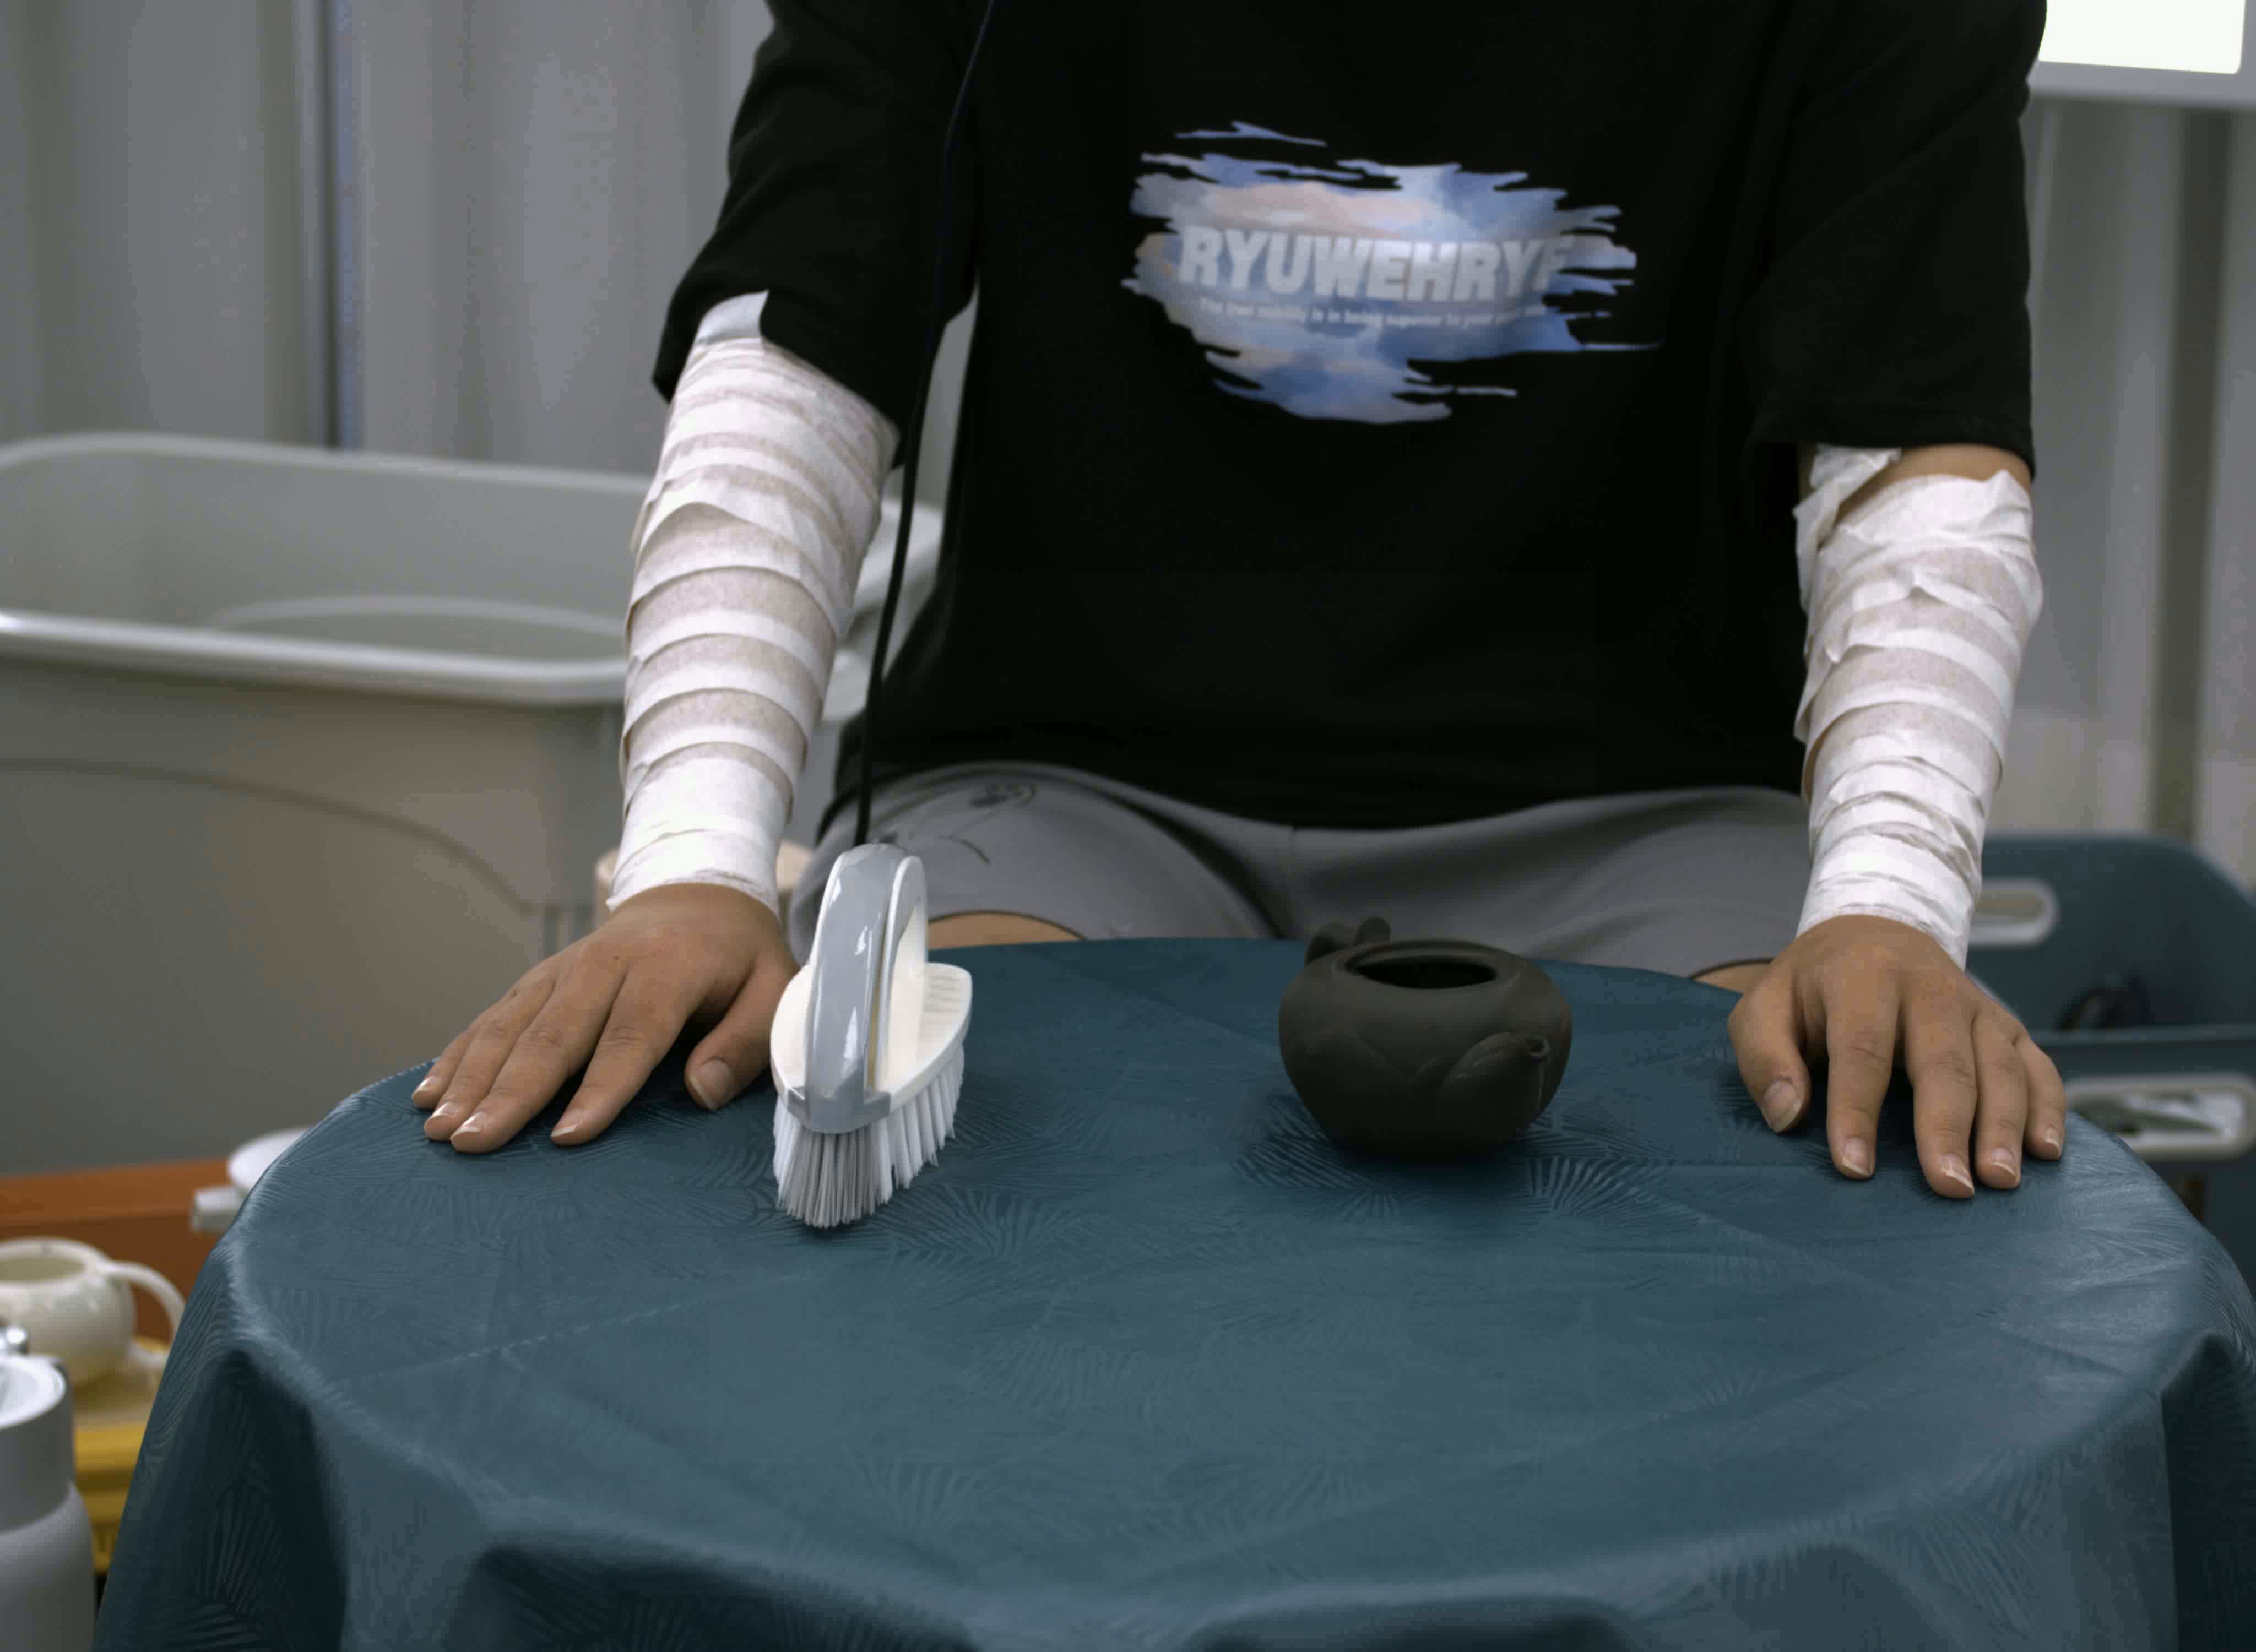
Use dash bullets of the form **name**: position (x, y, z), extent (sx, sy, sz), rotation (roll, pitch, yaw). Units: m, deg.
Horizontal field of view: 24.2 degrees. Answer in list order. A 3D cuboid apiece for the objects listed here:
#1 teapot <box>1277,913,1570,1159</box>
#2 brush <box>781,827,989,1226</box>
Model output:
- **teapot**: position (0.092, 0.067, 1.669), extent (0.092, 0.065, 0.152), rotation (-6, 18, -24)
- **brush**: position (-0.081, 0.057, 1.650), extent (0.061, 0.095, 0.175), rotation (-2, 17, 6)
